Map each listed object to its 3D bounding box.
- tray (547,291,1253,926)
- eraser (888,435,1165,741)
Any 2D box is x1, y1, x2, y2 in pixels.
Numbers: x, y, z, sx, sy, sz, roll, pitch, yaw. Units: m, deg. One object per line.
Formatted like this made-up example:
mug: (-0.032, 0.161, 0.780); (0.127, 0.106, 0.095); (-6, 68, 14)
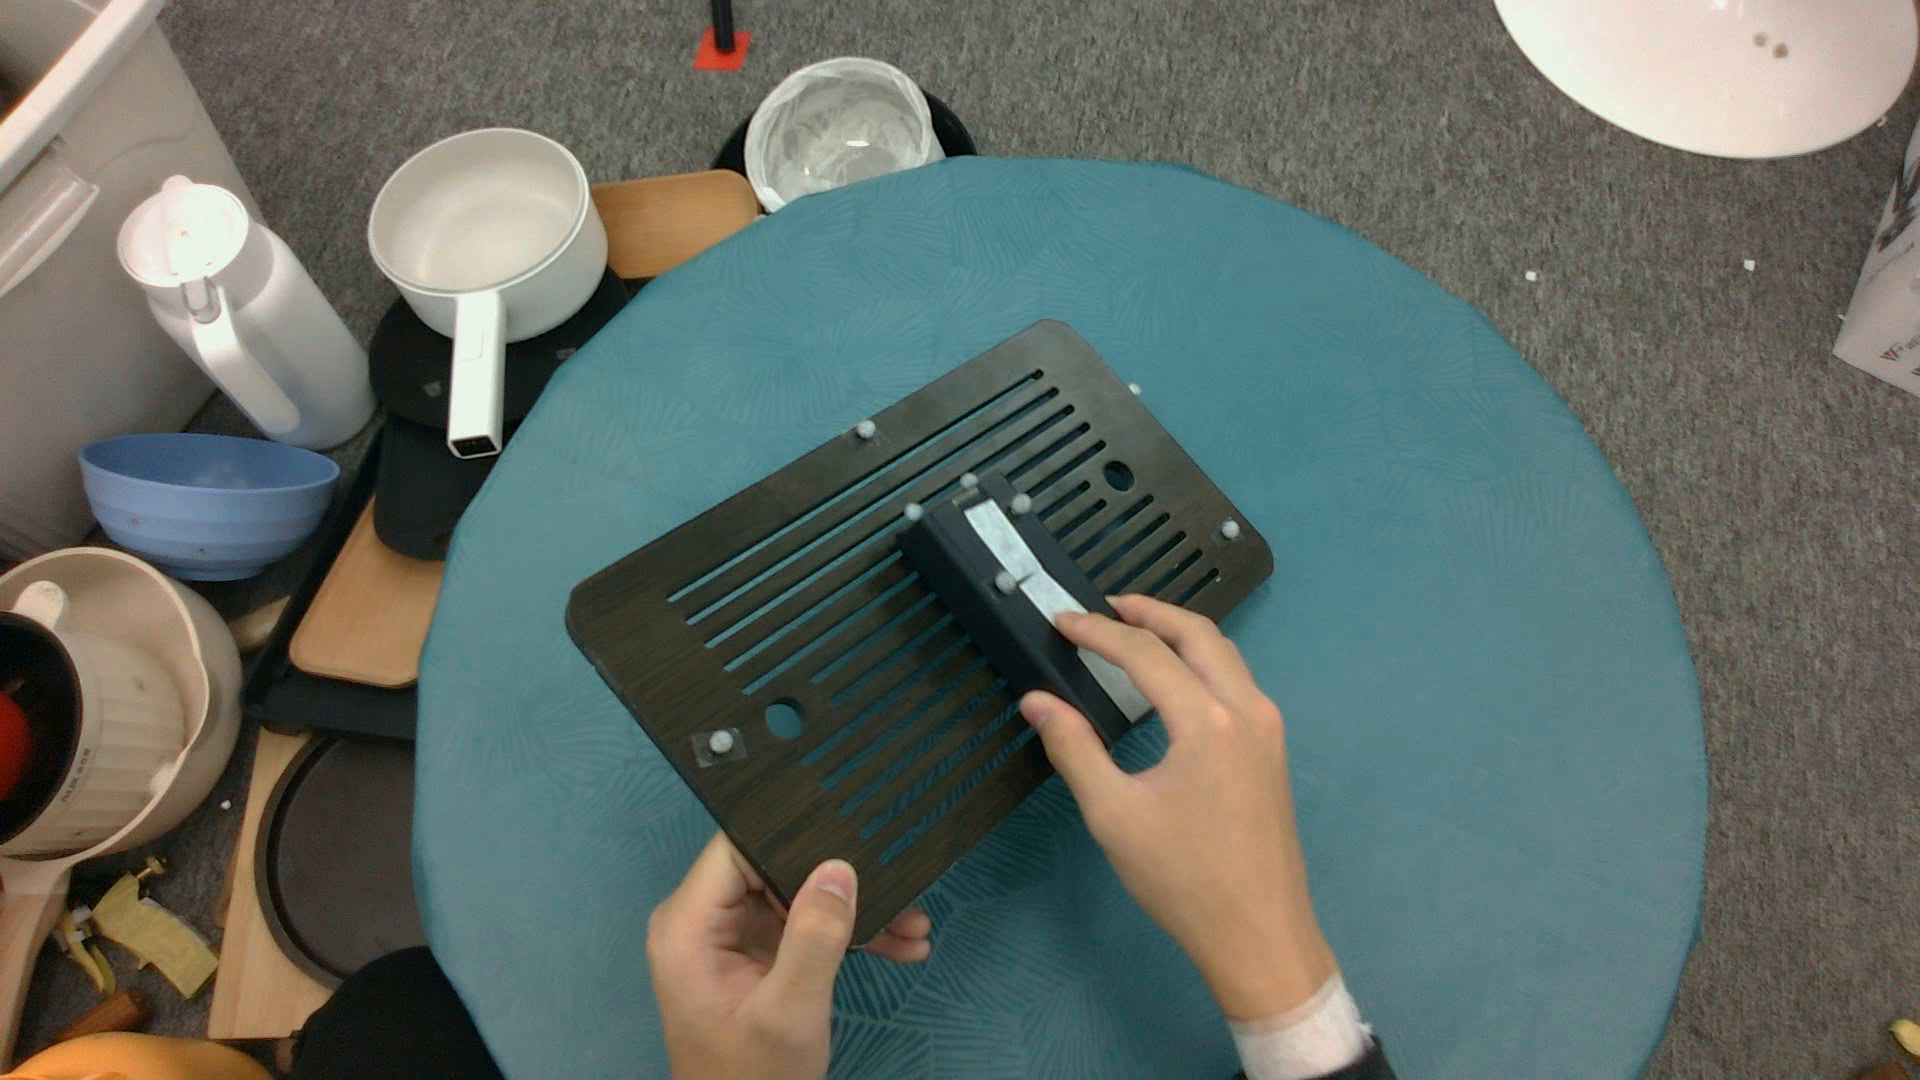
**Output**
tray: (-0.007, 0.009, 0.588); (0.307, 0.018, 0.170); (-35, 82, -38)
eraser: (0.027, 0.019, 0.574); (0.054, 0.030, 0.125); (-34, 83, -35)
